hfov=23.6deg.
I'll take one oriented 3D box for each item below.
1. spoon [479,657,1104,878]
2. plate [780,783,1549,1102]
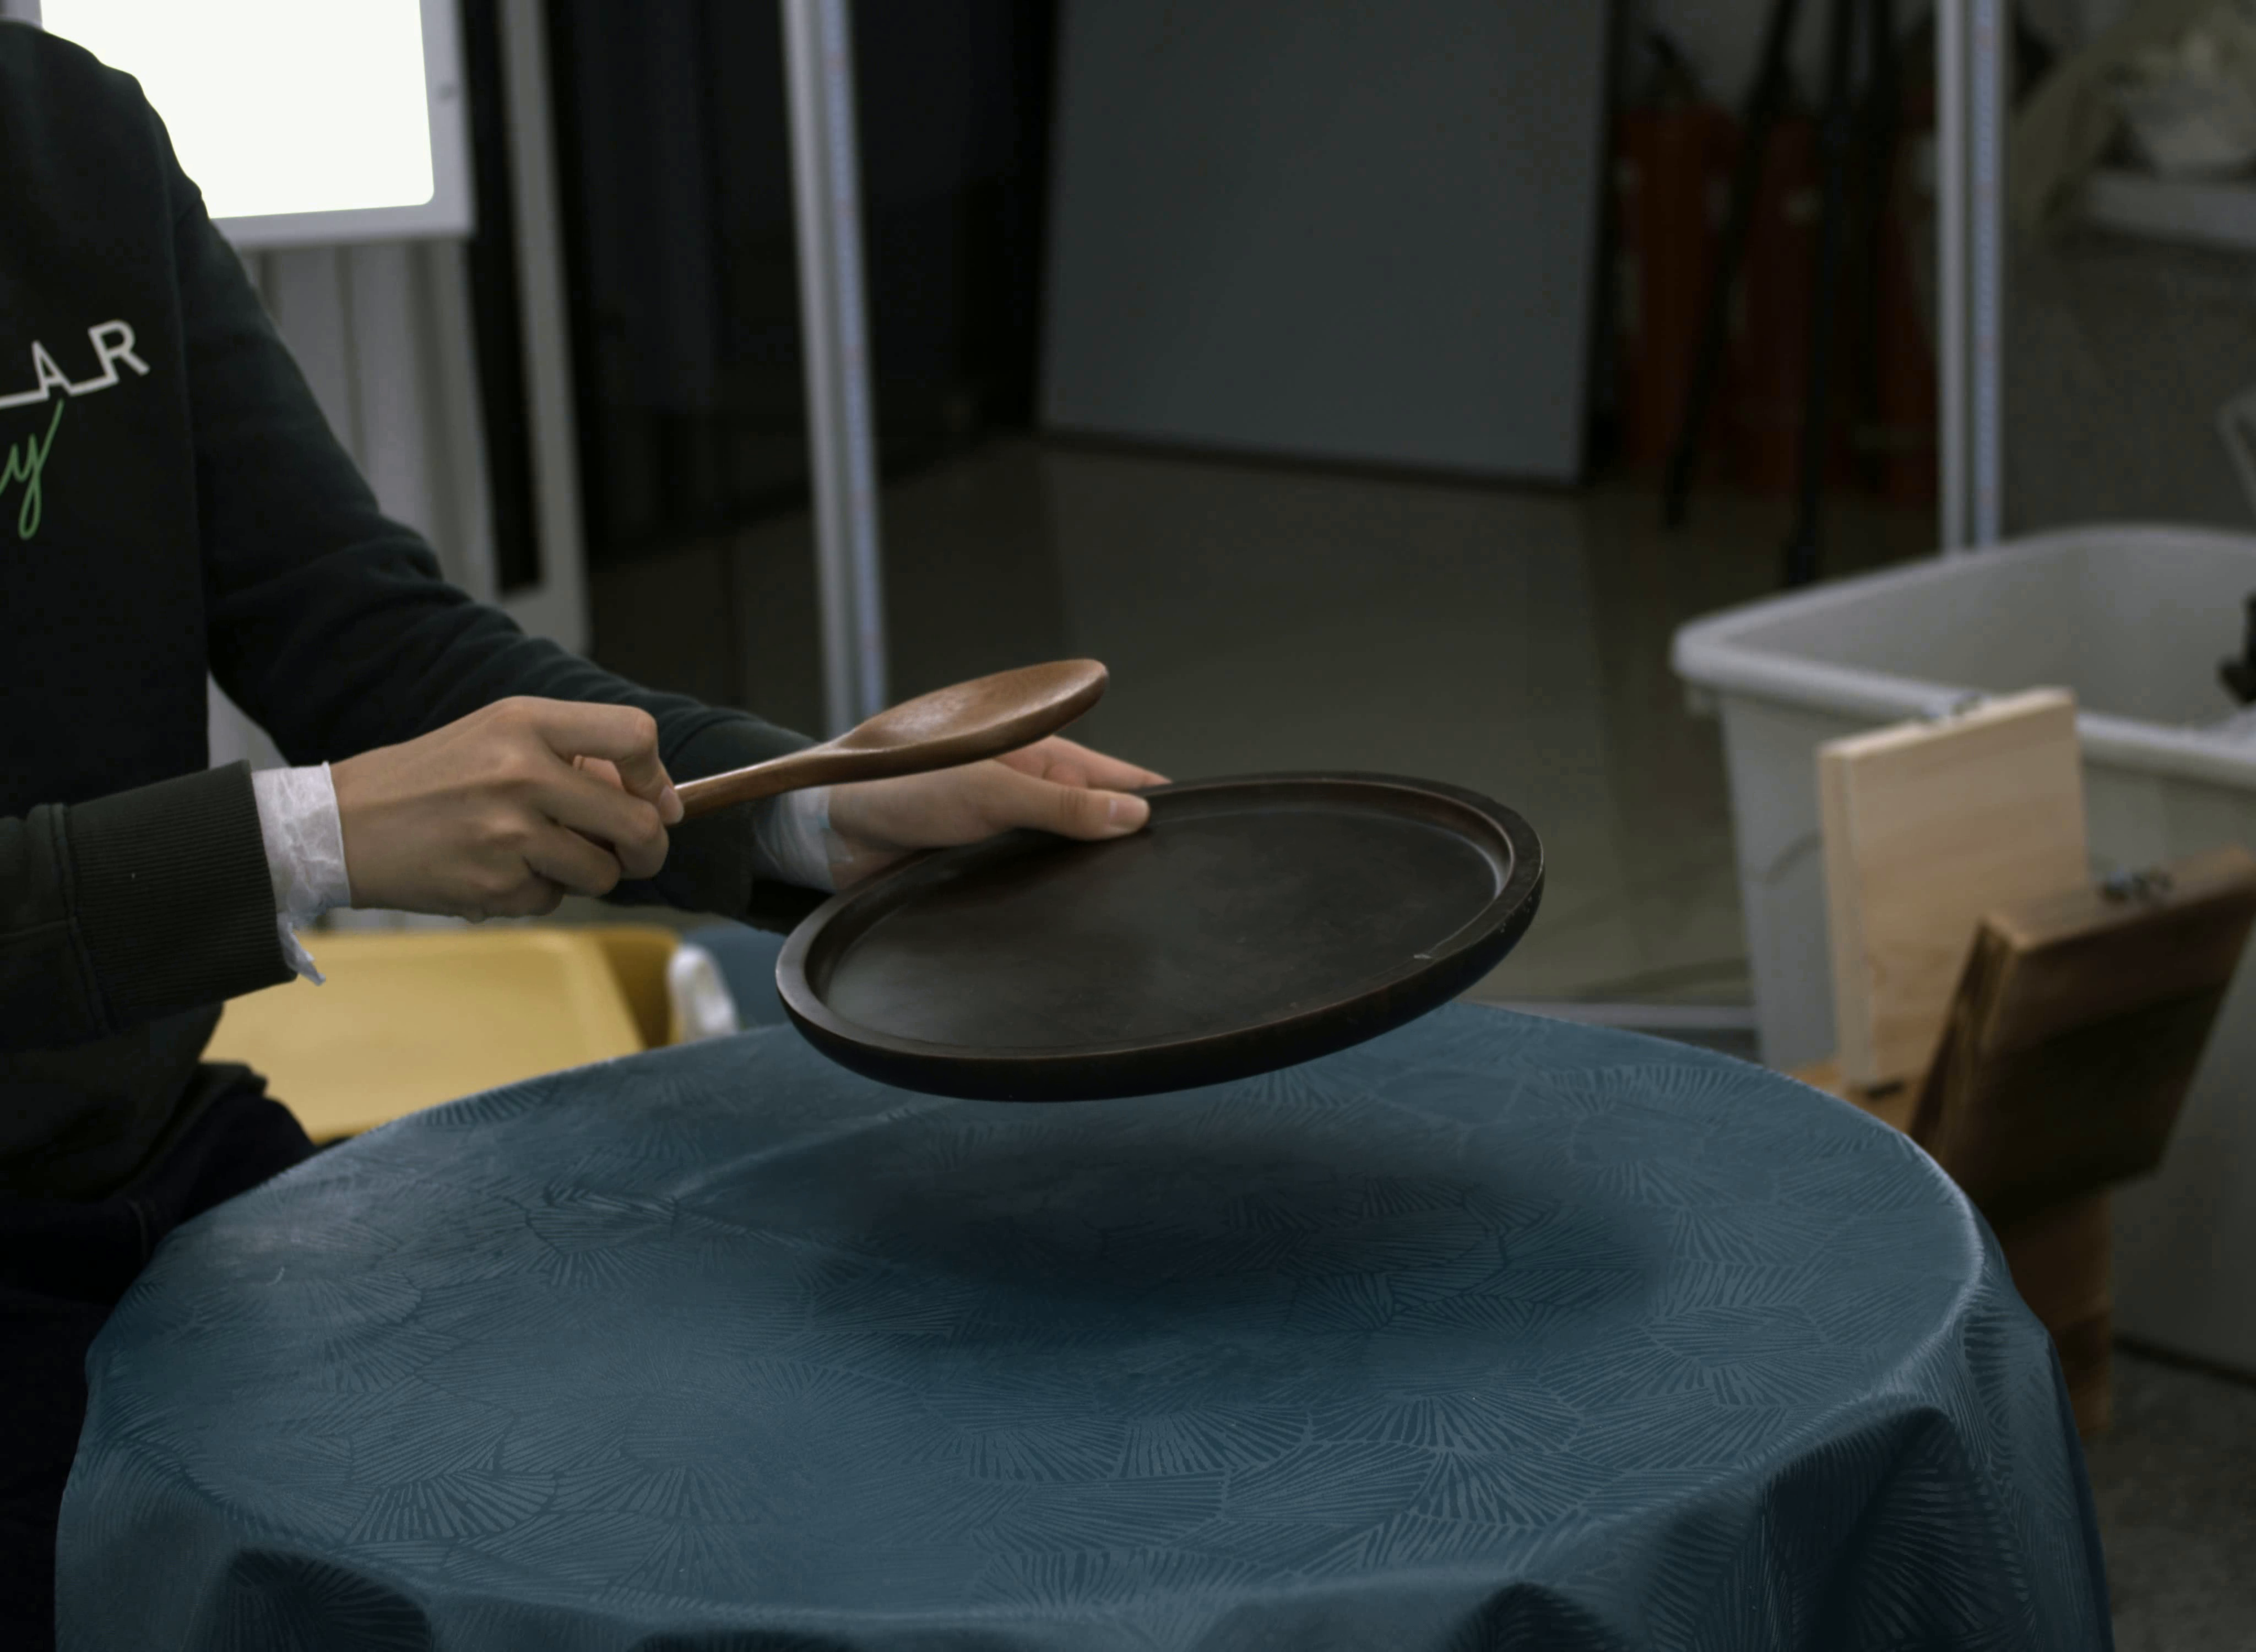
[{"bbox_3d":[-0.109,-0.017,1.772,0.213,0.017,0.076,-16,14,1],"label":"spoon"},{"bbox_3d":[0.012,0.035,1.734,0.252,0.029,0.255,-9,18,2],"label":"plate"}]
